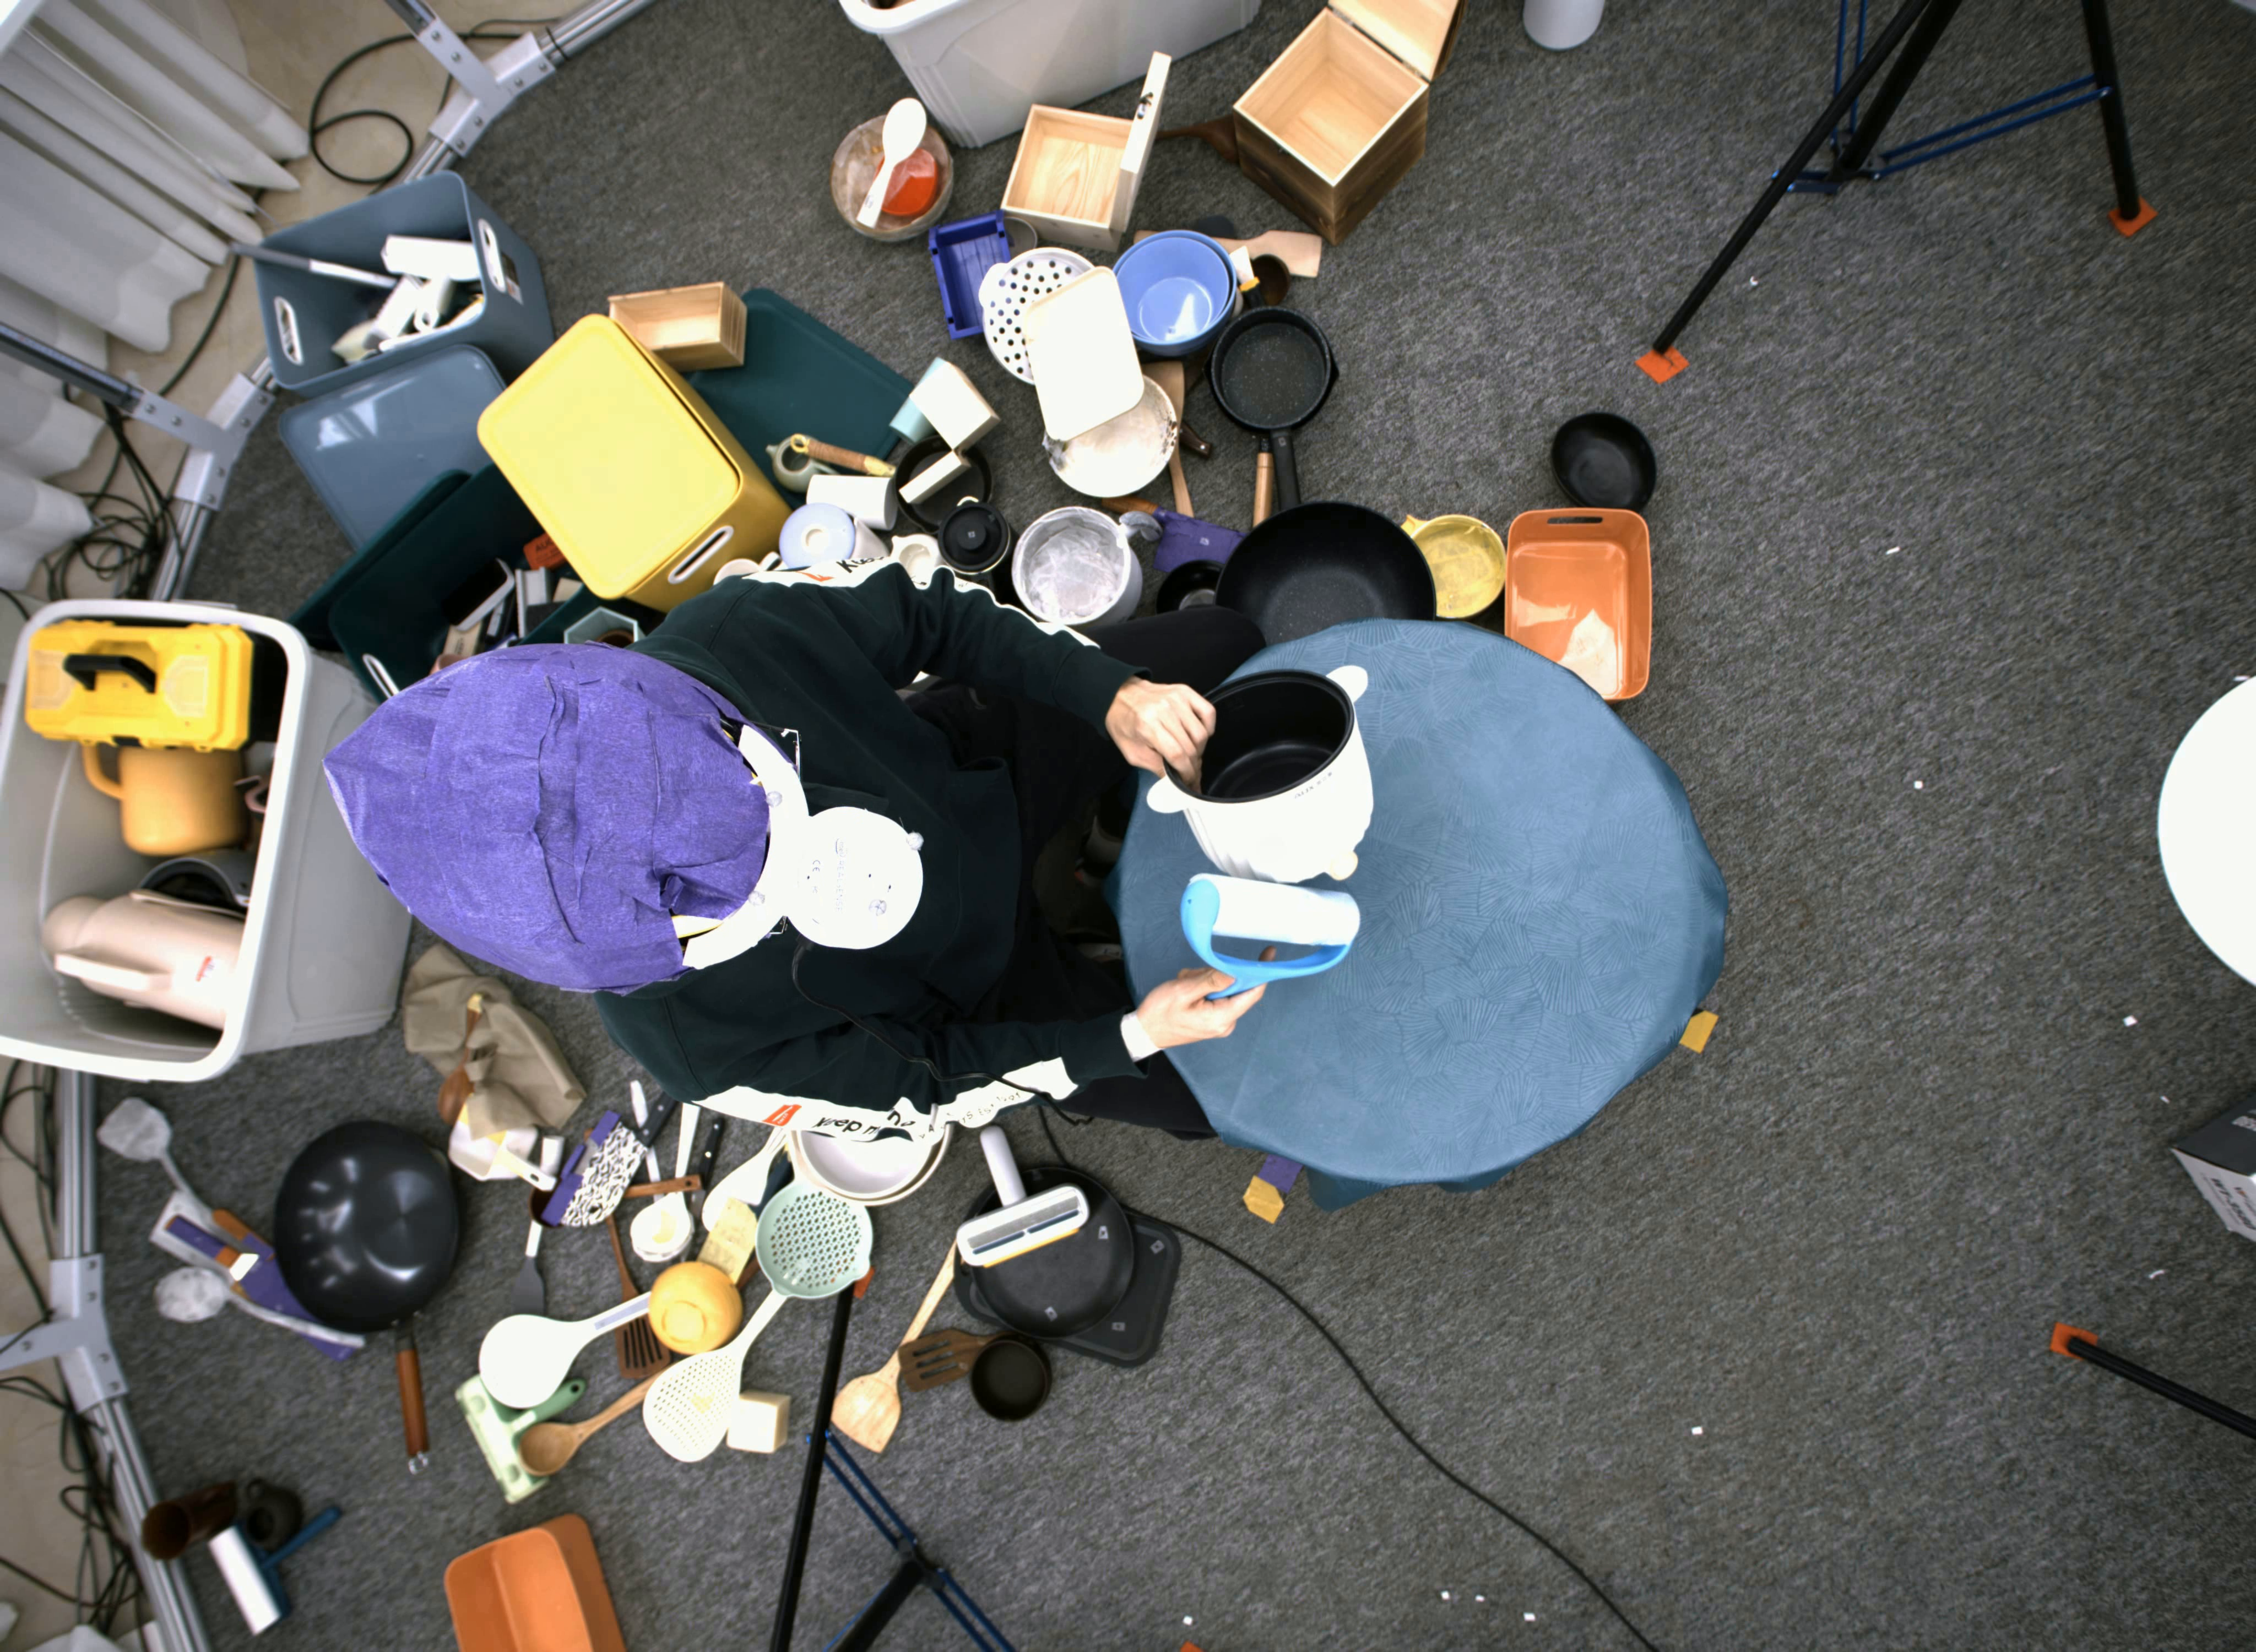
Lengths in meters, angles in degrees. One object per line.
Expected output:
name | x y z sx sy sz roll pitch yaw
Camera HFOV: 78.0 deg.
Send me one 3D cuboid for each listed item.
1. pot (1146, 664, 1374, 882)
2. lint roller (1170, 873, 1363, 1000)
pot | 0.141 -0.038 1.292 0.239 0.145 0.188 -34 38 -8
lint roller | 0.107 0.119 1.298 0.184 0.227 0.067 -55 50 31
